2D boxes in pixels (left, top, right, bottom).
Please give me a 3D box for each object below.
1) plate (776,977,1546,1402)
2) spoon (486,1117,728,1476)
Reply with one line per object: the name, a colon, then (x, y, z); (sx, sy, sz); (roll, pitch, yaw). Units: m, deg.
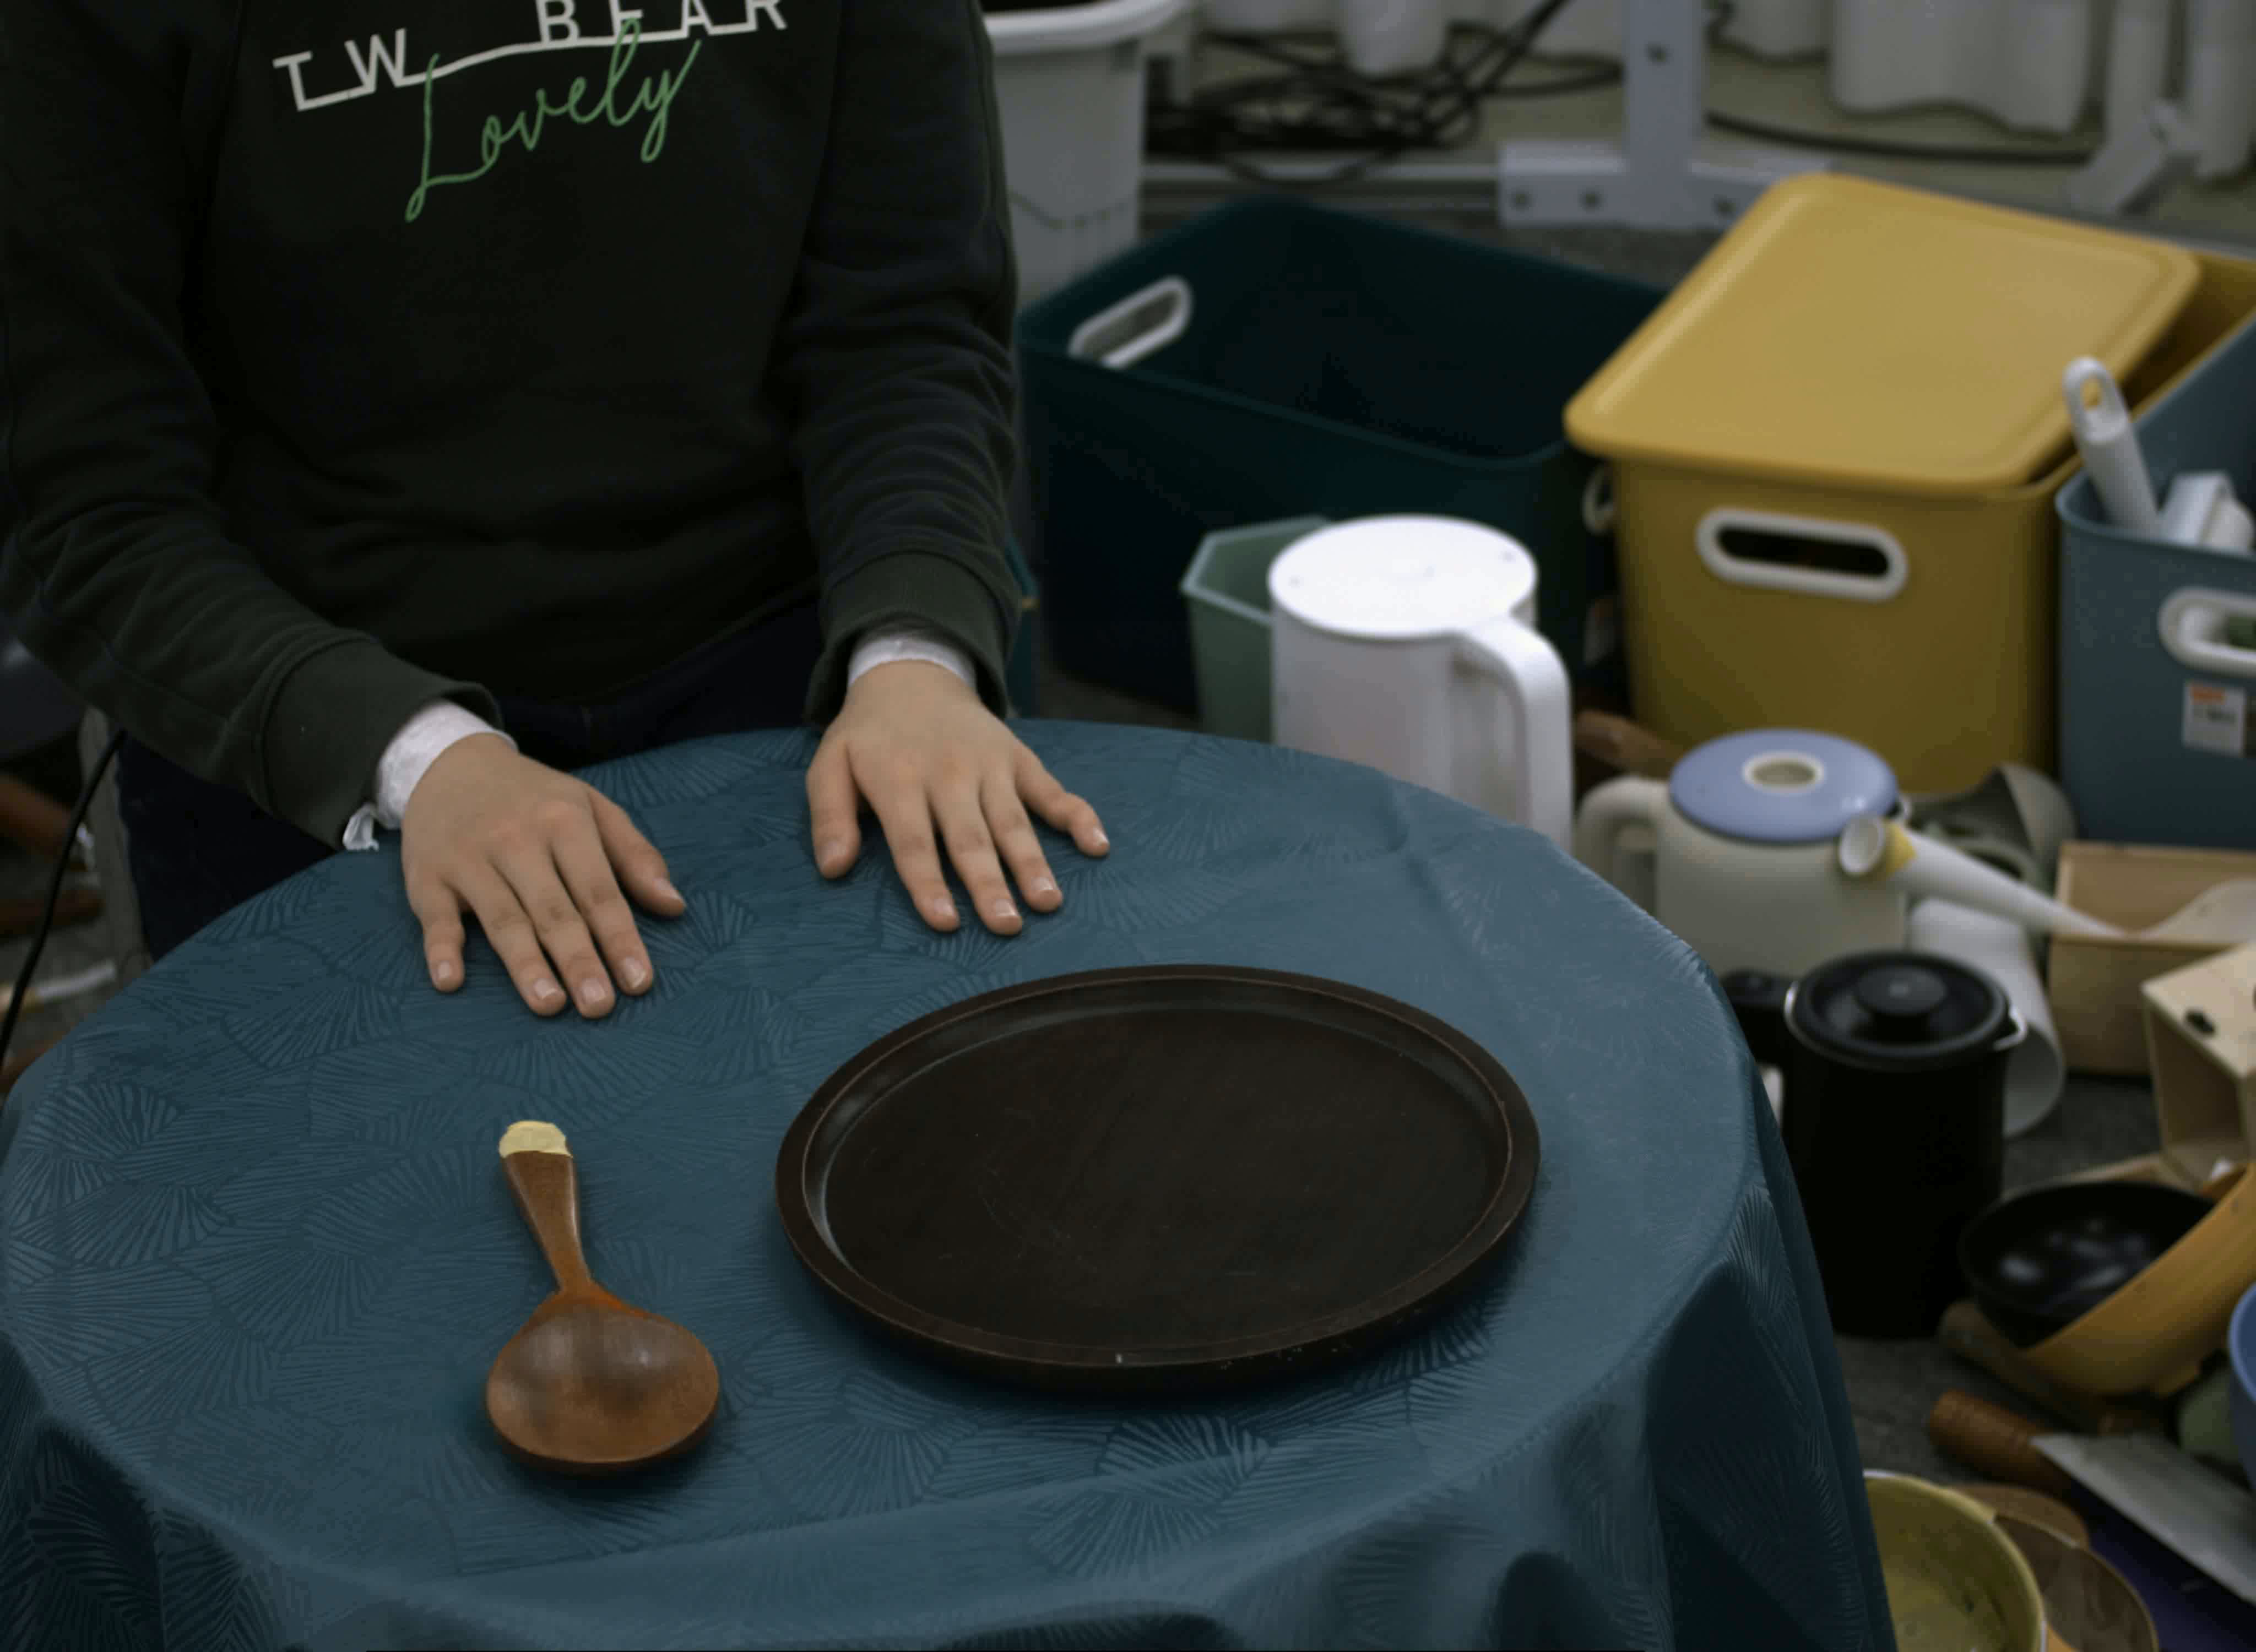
plate: (0.011, 0.117, 1.846); (0.253, 0.029, 0.259); (-1, 28, 1)
spoon: (-0.177, 0.151, 1.802); (0.075, 0.017, 0.218); (-9, 28, -11)
